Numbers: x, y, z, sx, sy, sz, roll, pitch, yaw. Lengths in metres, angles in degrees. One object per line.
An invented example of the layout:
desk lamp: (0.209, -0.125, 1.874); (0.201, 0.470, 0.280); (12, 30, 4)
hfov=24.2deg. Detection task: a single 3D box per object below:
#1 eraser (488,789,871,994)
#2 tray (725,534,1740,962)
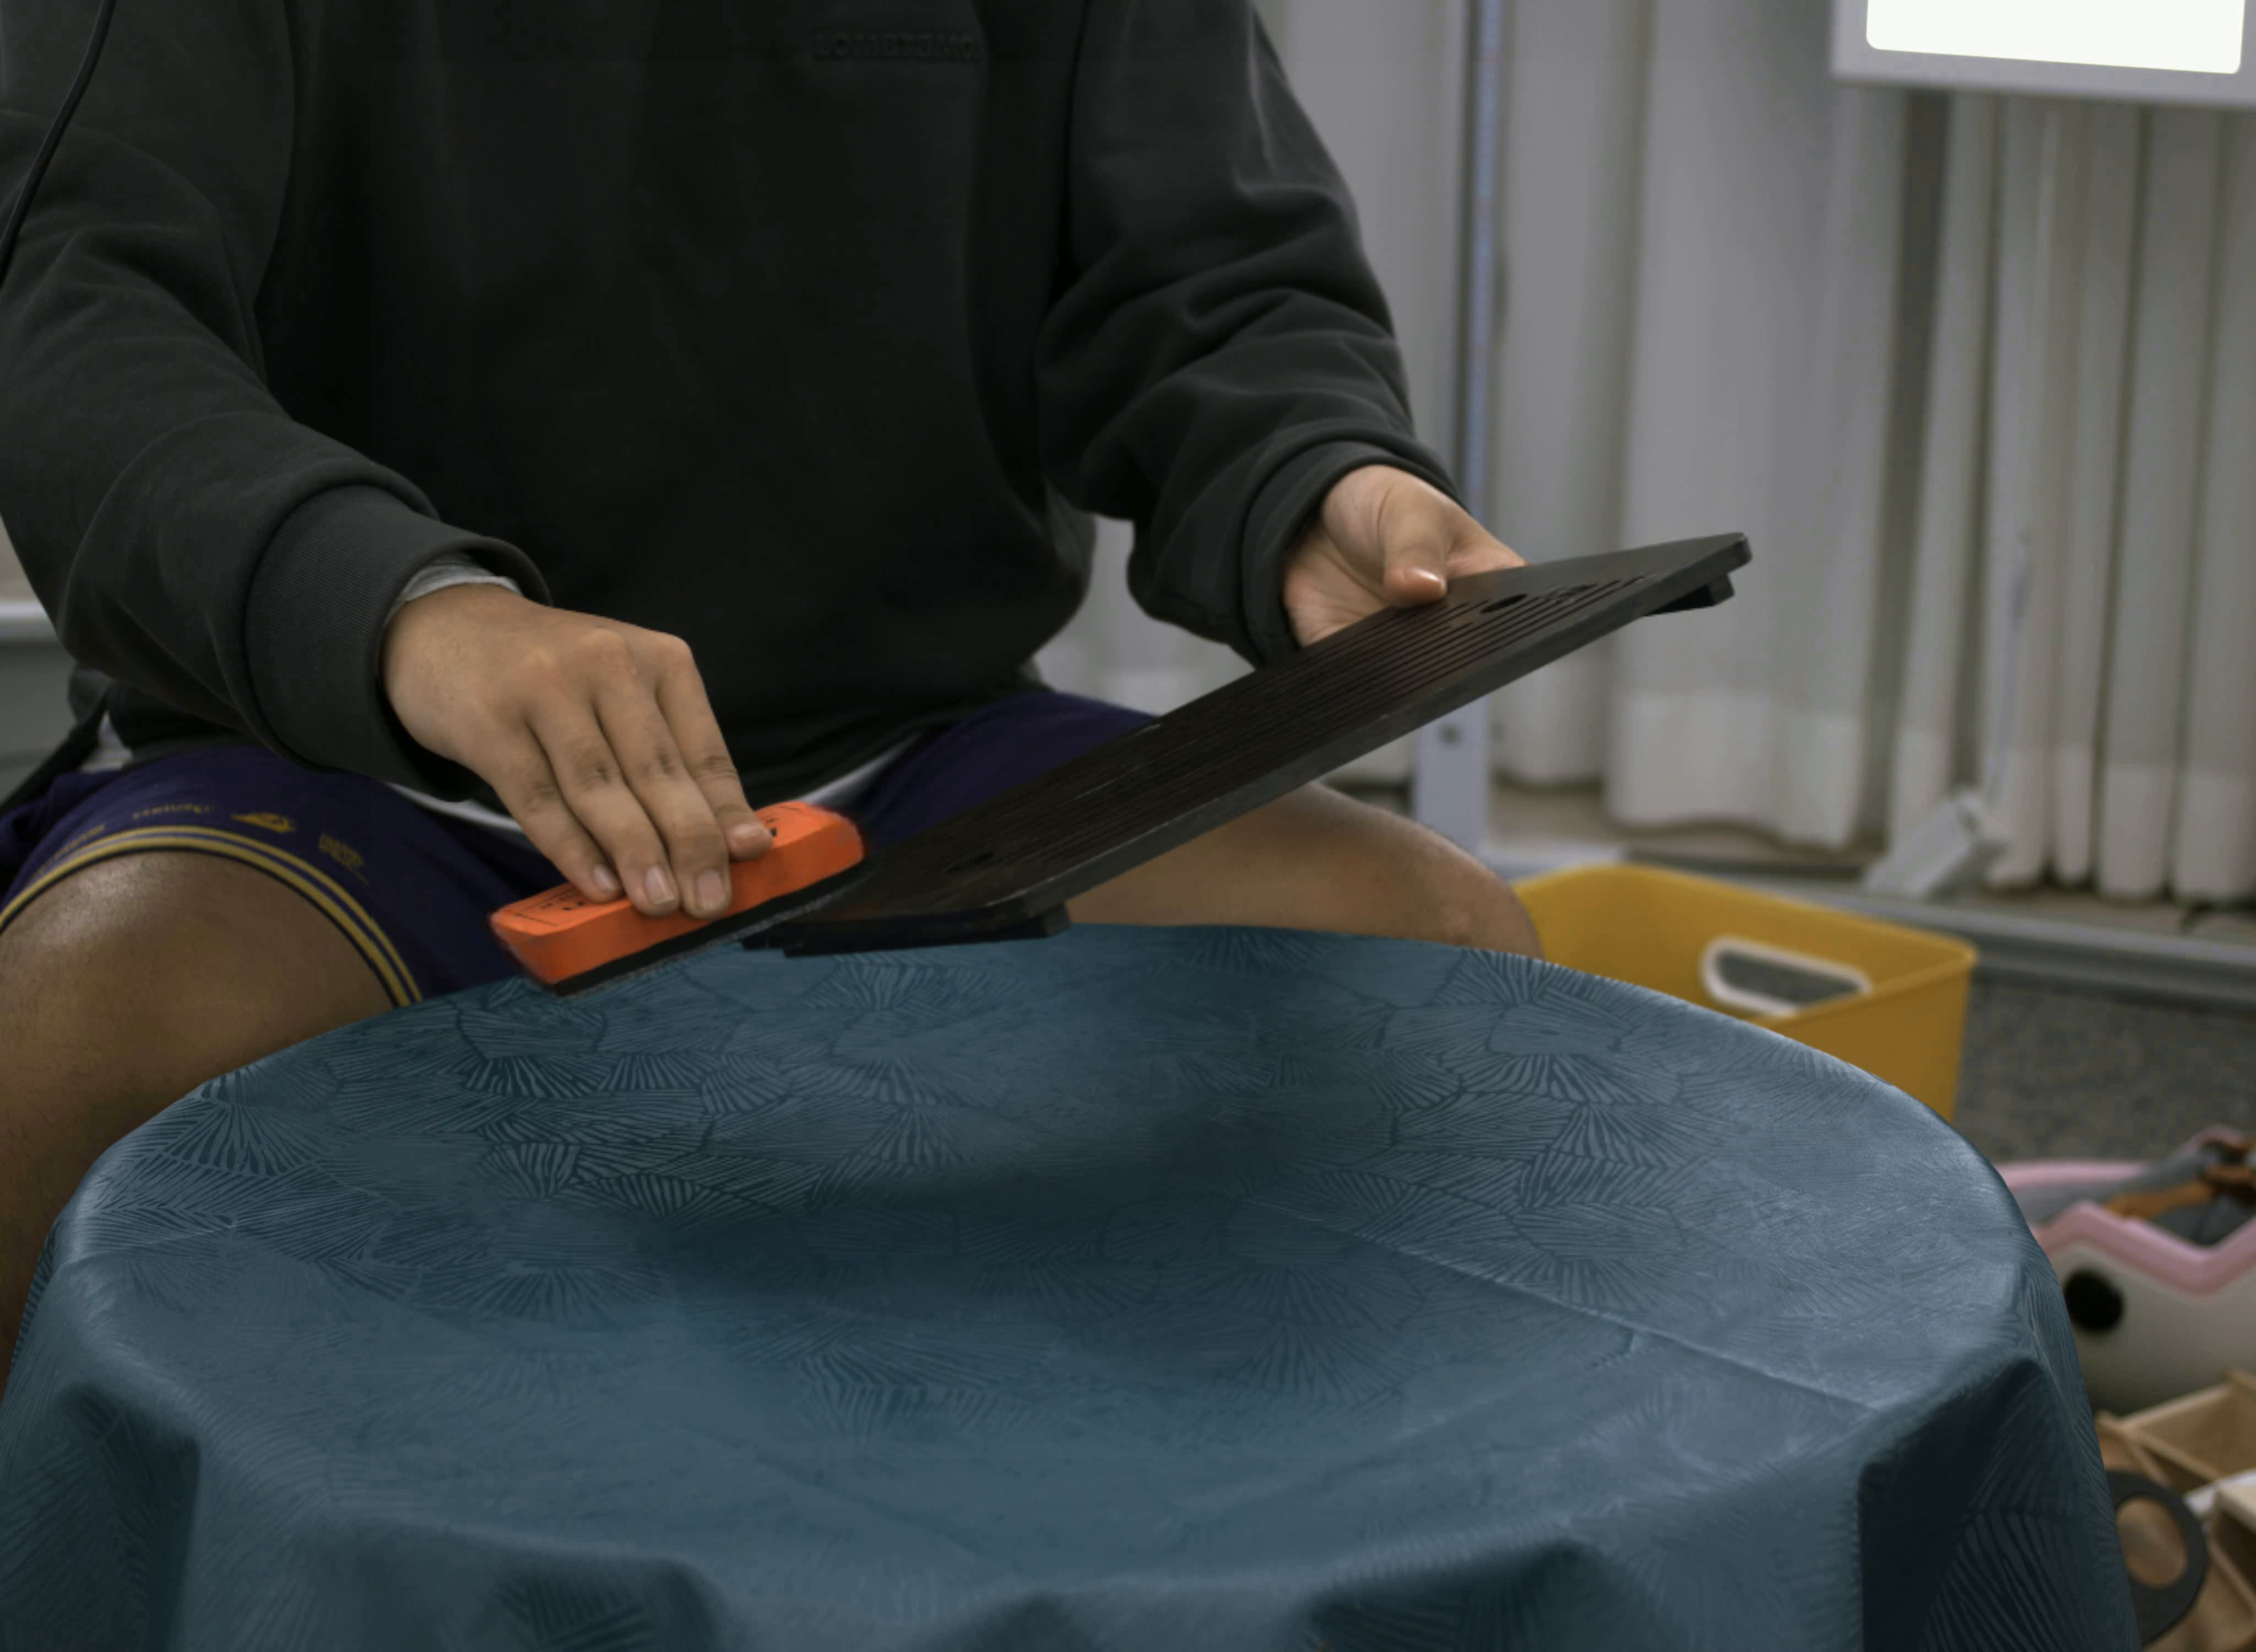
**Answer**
eraser: (-0.135, 0.019, 1.583); (0.108, 0.023, 0.058); (-23, 16, -24)
tray: (0.035, -0.022, 1.619); (0.306, 0.019, 0.168); (-26, 11, -31)
